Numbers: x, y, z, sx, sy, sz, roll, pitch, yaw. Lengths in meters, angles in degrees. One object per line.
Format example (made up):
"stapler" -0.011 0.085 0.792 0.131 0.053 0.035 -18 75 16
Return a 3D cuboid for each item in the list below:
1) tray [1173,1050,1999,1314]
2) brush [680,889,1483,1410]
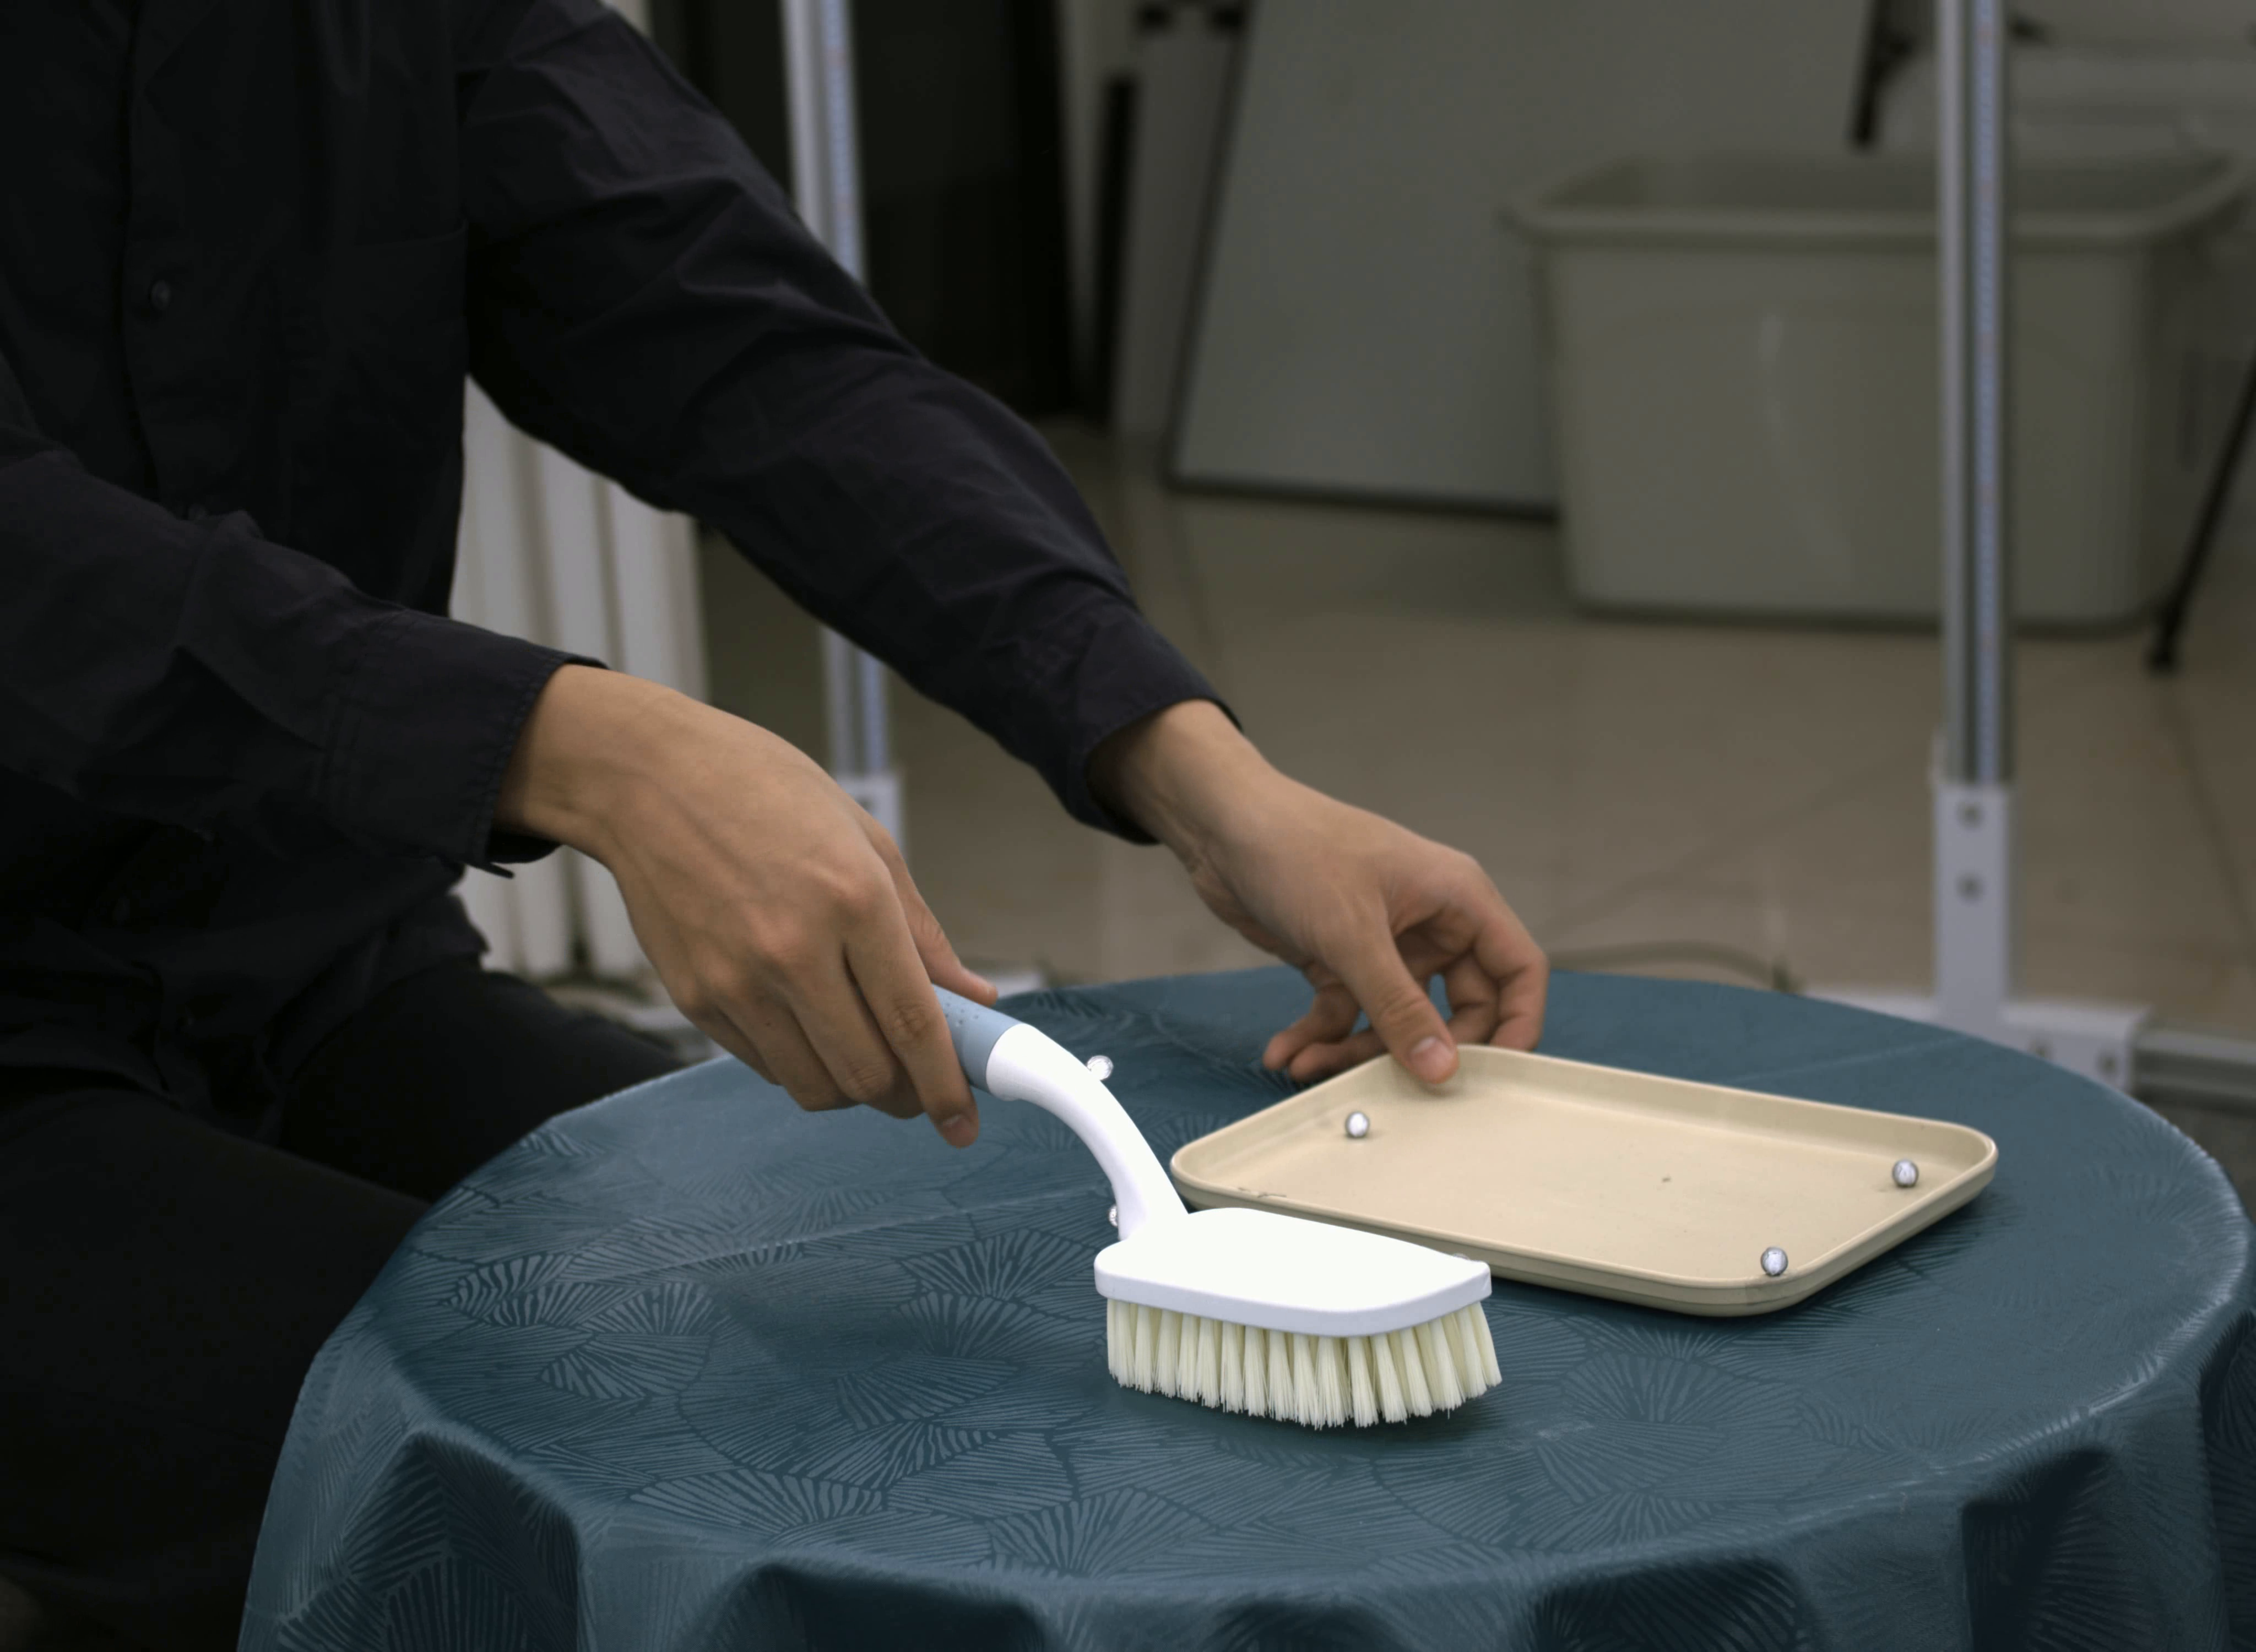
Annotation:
"tray" 0.146 0.113 1.727 0.241 0.017 0.168 8 17 38
"brush" -0.020 0.111 1.643 0.328 0.085 0.082 23 -10 38
